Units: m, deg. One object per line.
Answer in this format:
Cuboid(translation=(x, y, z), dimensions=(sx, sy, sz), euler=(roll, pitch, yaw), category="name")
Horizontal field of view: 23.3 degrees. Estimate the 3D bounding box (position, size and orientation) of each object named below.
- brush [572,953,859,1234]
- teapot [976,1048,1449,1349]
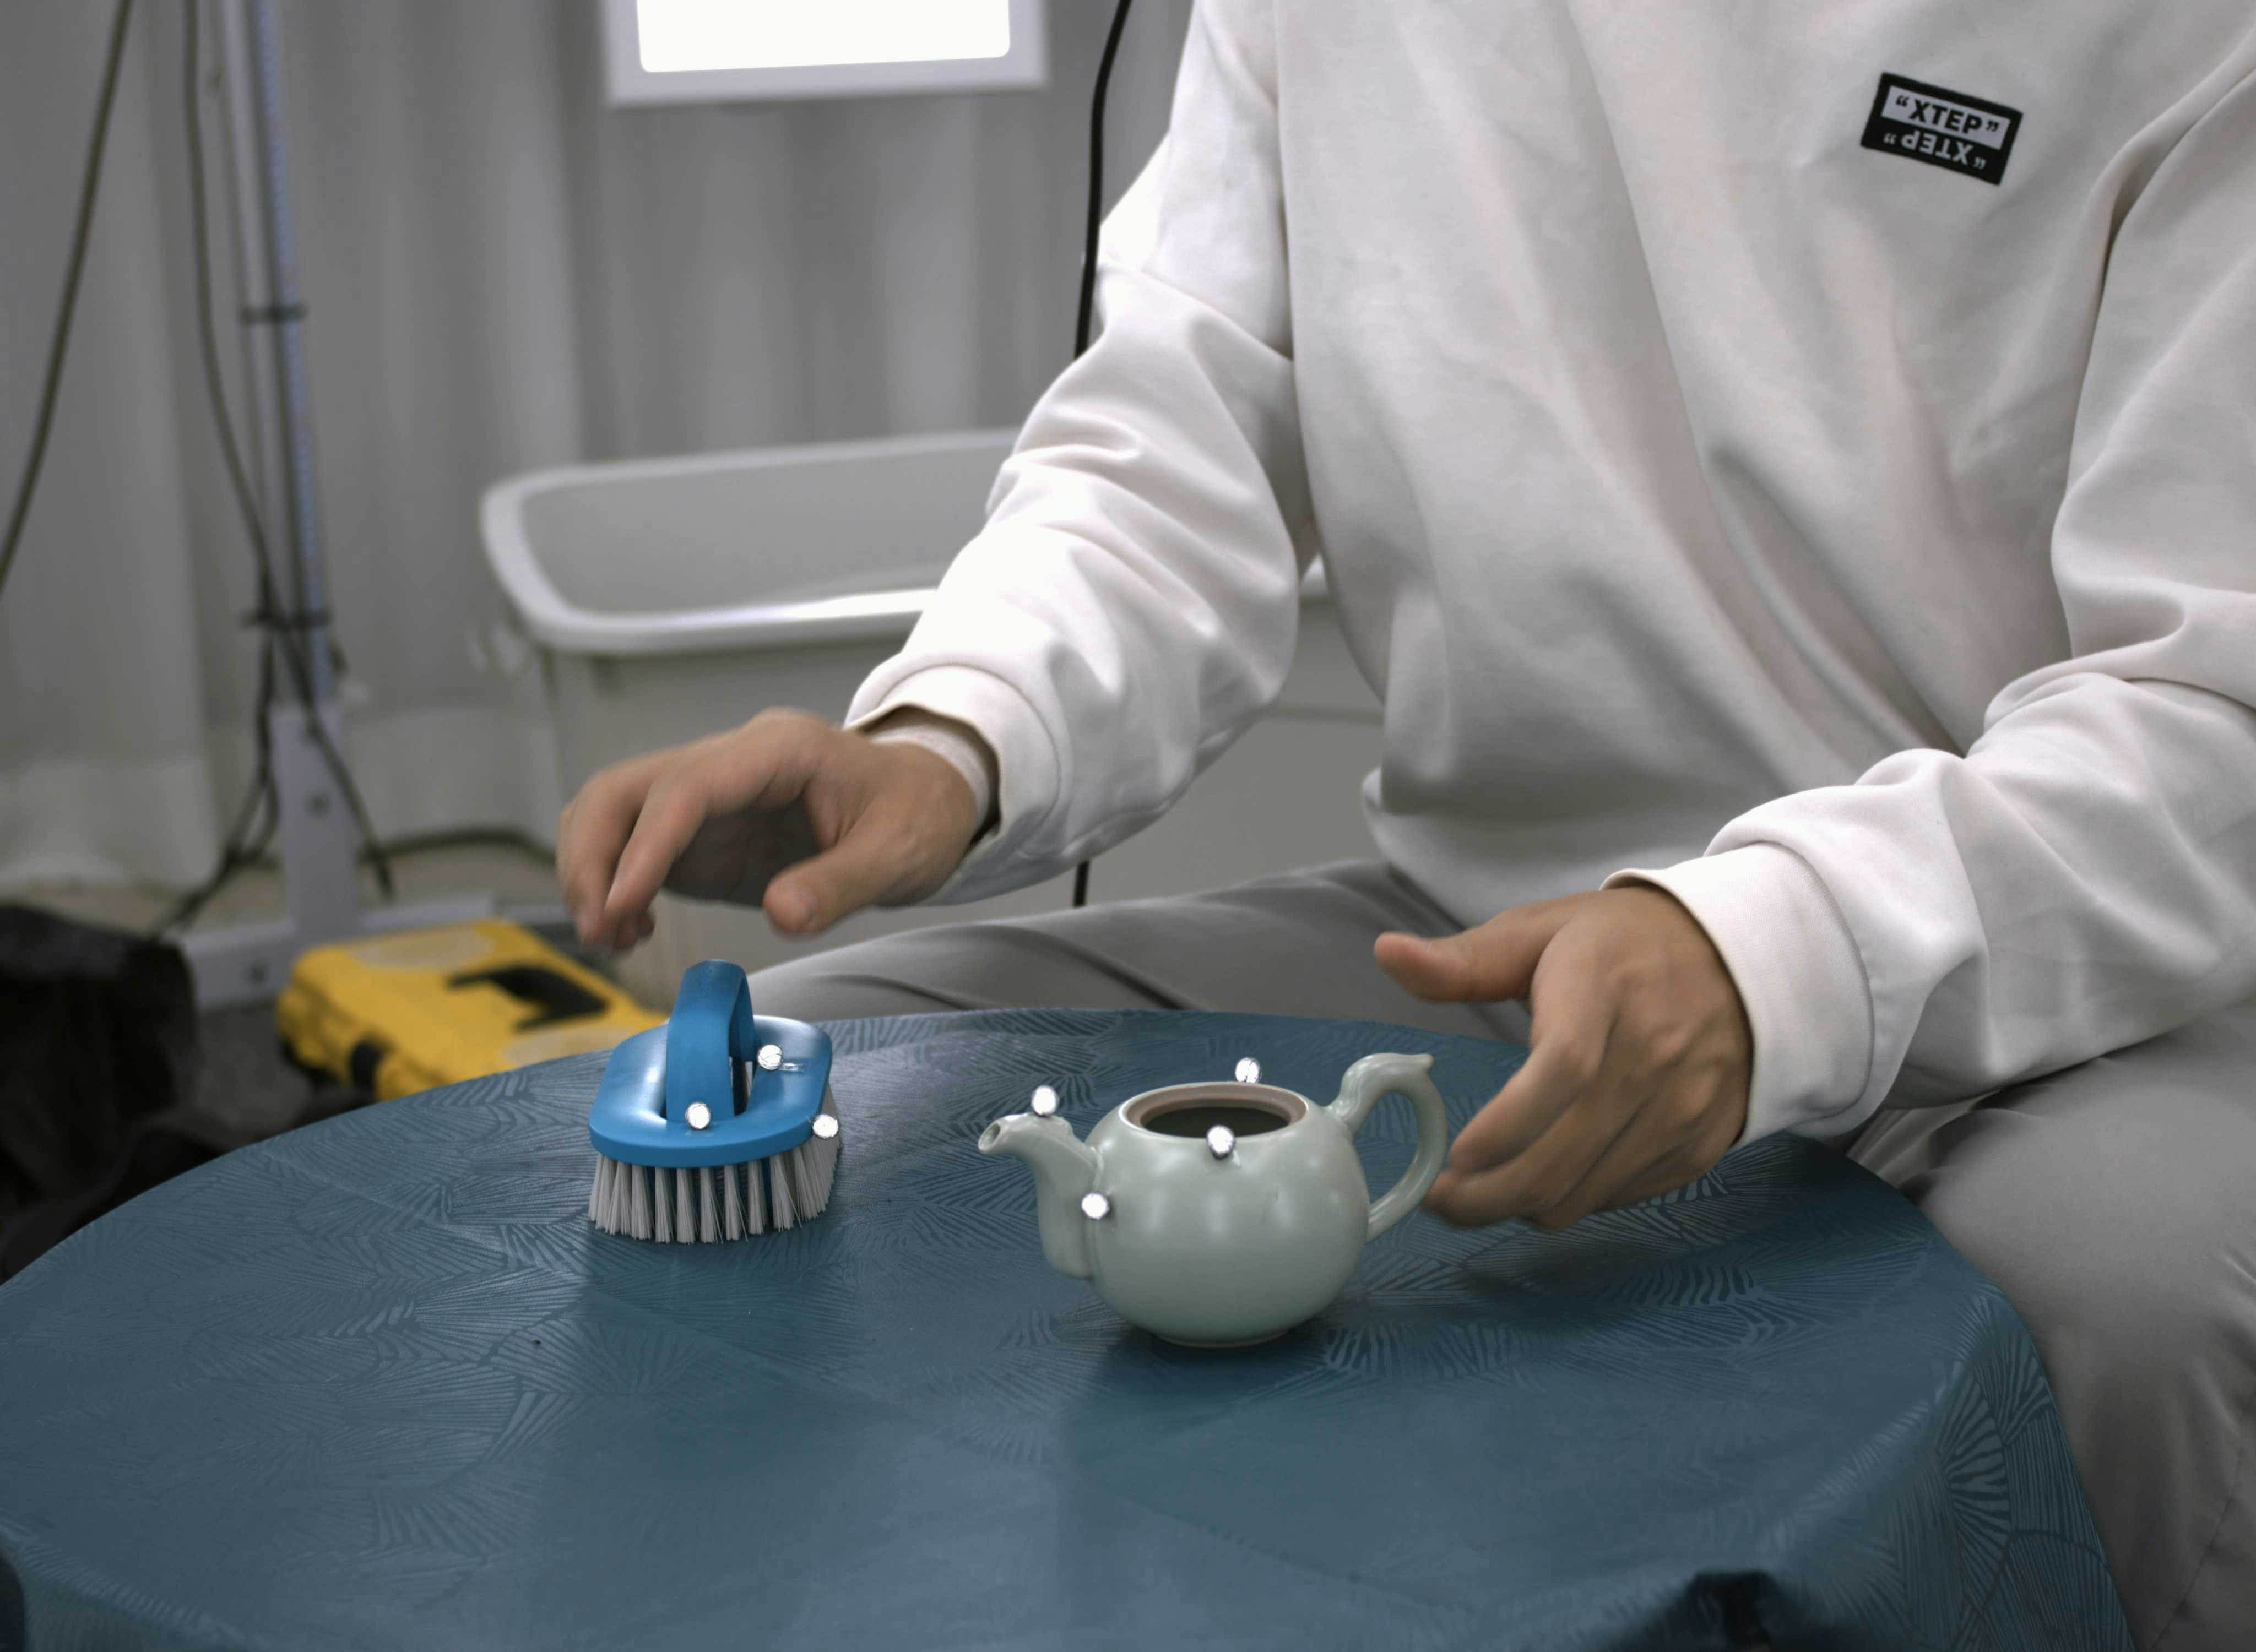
Cuboid(translation=(-0.133, 0.079, 1.747), dimensions=(0.084, 0.063, 0.142), euler=(-6, 14, 4), category="brush")
Cuboid(translation=(0.027, 0.111, 1.589), dimensions=(0.143, 0.074, 0.089), euler=(-9, 14, -15), category="teapot")
